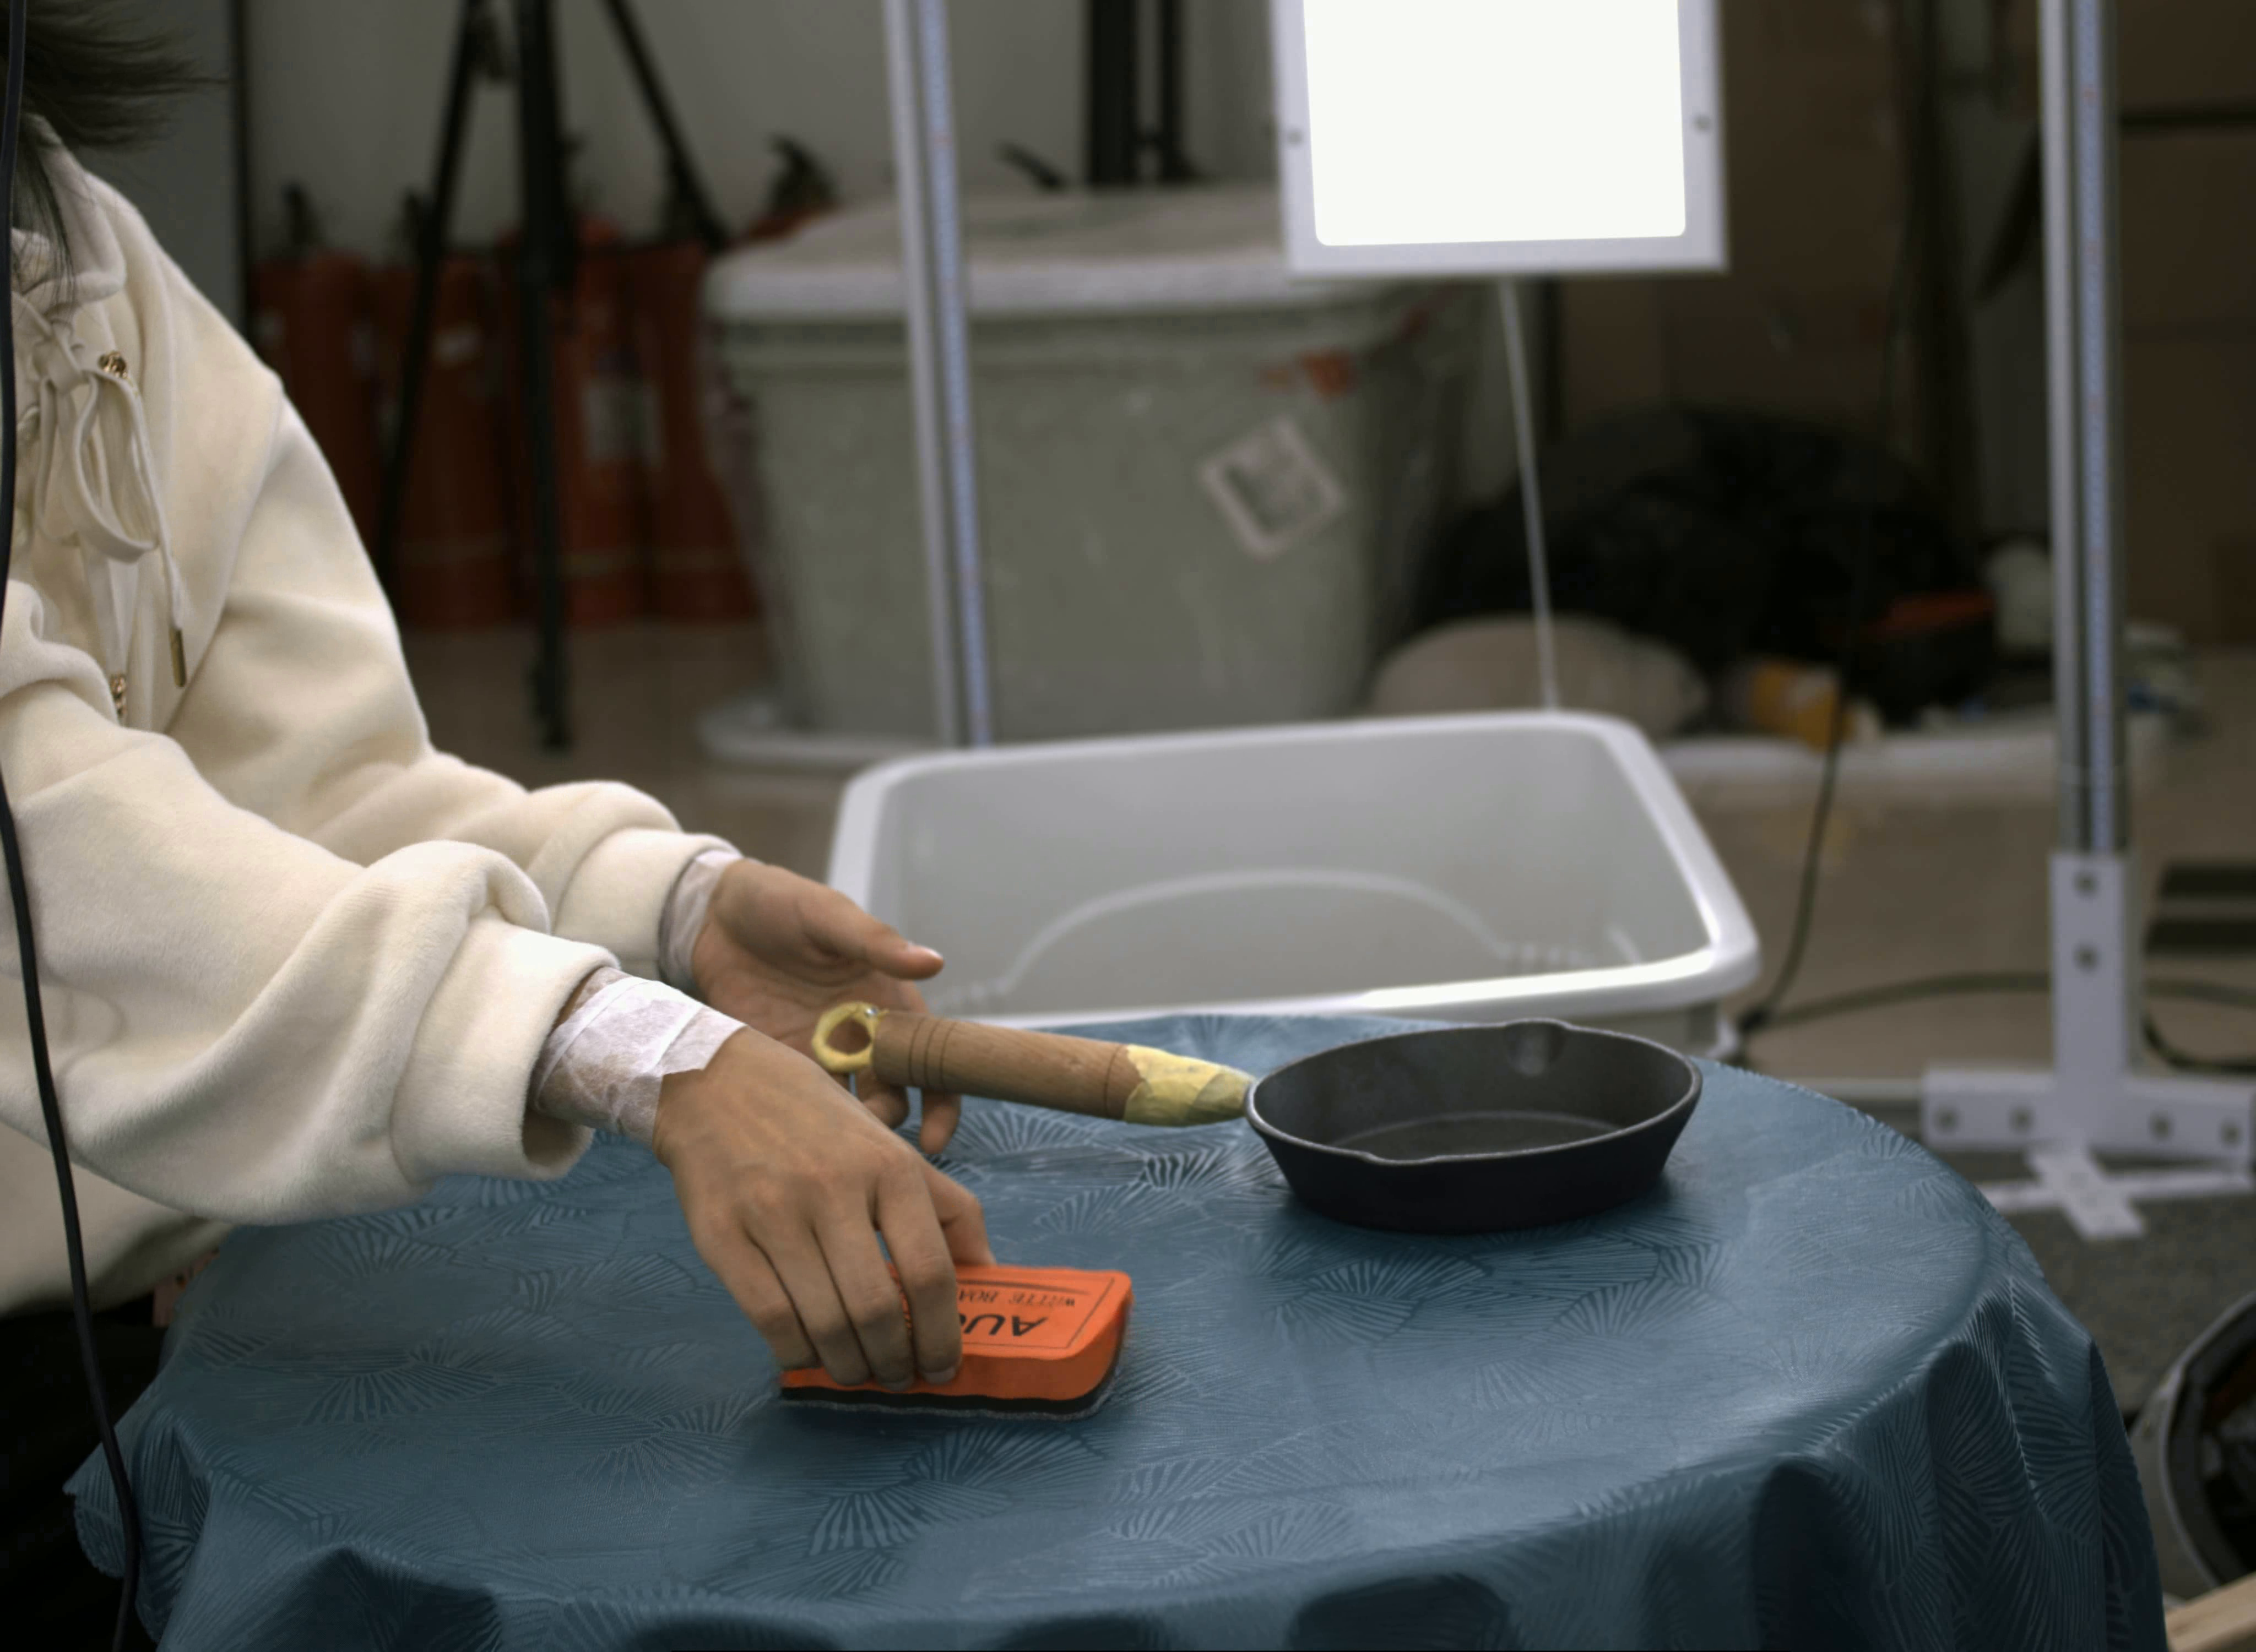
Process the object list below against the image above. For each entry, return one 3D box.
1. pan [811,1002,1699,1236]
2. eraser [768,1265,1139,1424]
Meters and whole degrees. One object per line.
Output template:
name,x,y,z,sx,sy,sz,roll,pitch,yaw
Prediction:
pan,0.040,0.094,1.910,0.329,0.050,0.165,3,16,24
eraser,-0.054,0.161,1.715,0.109,0.023,0.058,1,23,23
